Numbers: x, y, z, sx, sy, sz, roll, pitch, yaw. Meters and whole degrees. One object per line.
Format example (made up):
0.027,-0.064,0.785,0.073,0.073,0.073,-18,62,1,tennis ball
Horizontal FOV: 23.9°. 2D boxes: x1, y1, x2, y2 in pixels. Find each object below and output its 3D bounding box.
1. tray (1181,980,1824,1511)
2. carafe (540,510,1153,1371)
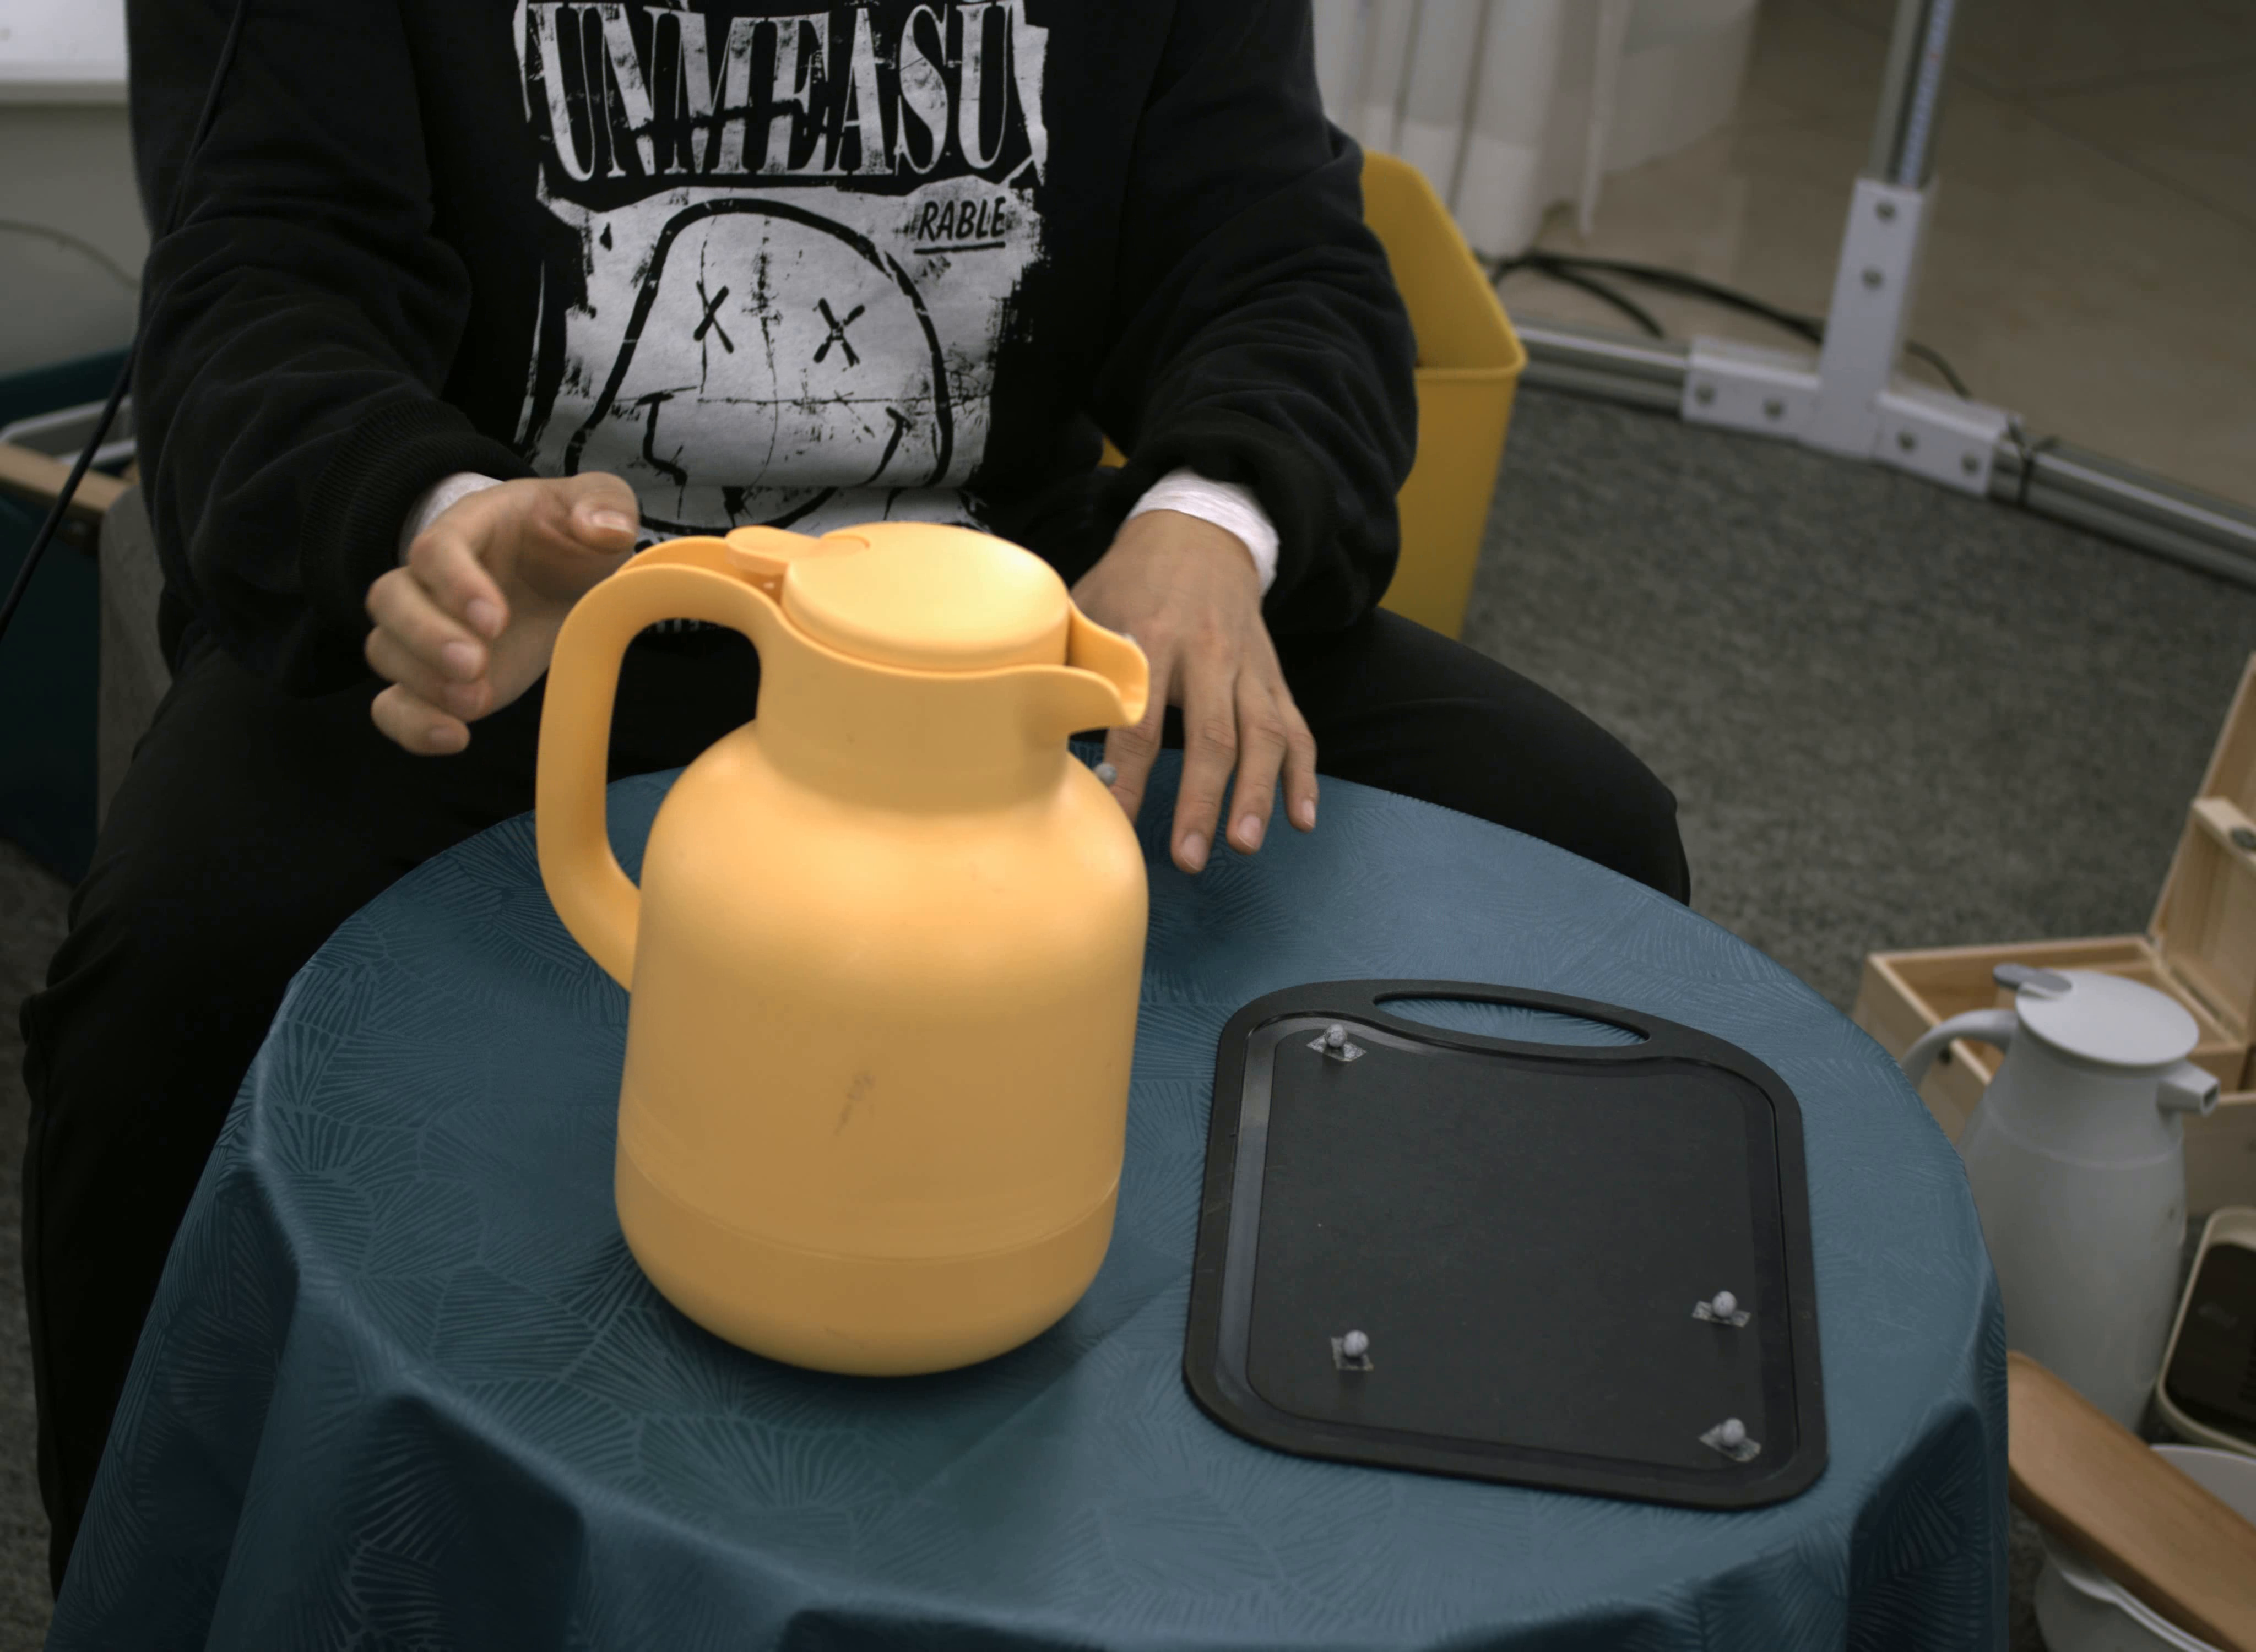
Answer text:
0.129,0.132,1.811,0.210,0.010,0.327,8,27,2,tray
-0.094,0.025,1.687,0.203,0.260,0.163,19,26,19,carafe
